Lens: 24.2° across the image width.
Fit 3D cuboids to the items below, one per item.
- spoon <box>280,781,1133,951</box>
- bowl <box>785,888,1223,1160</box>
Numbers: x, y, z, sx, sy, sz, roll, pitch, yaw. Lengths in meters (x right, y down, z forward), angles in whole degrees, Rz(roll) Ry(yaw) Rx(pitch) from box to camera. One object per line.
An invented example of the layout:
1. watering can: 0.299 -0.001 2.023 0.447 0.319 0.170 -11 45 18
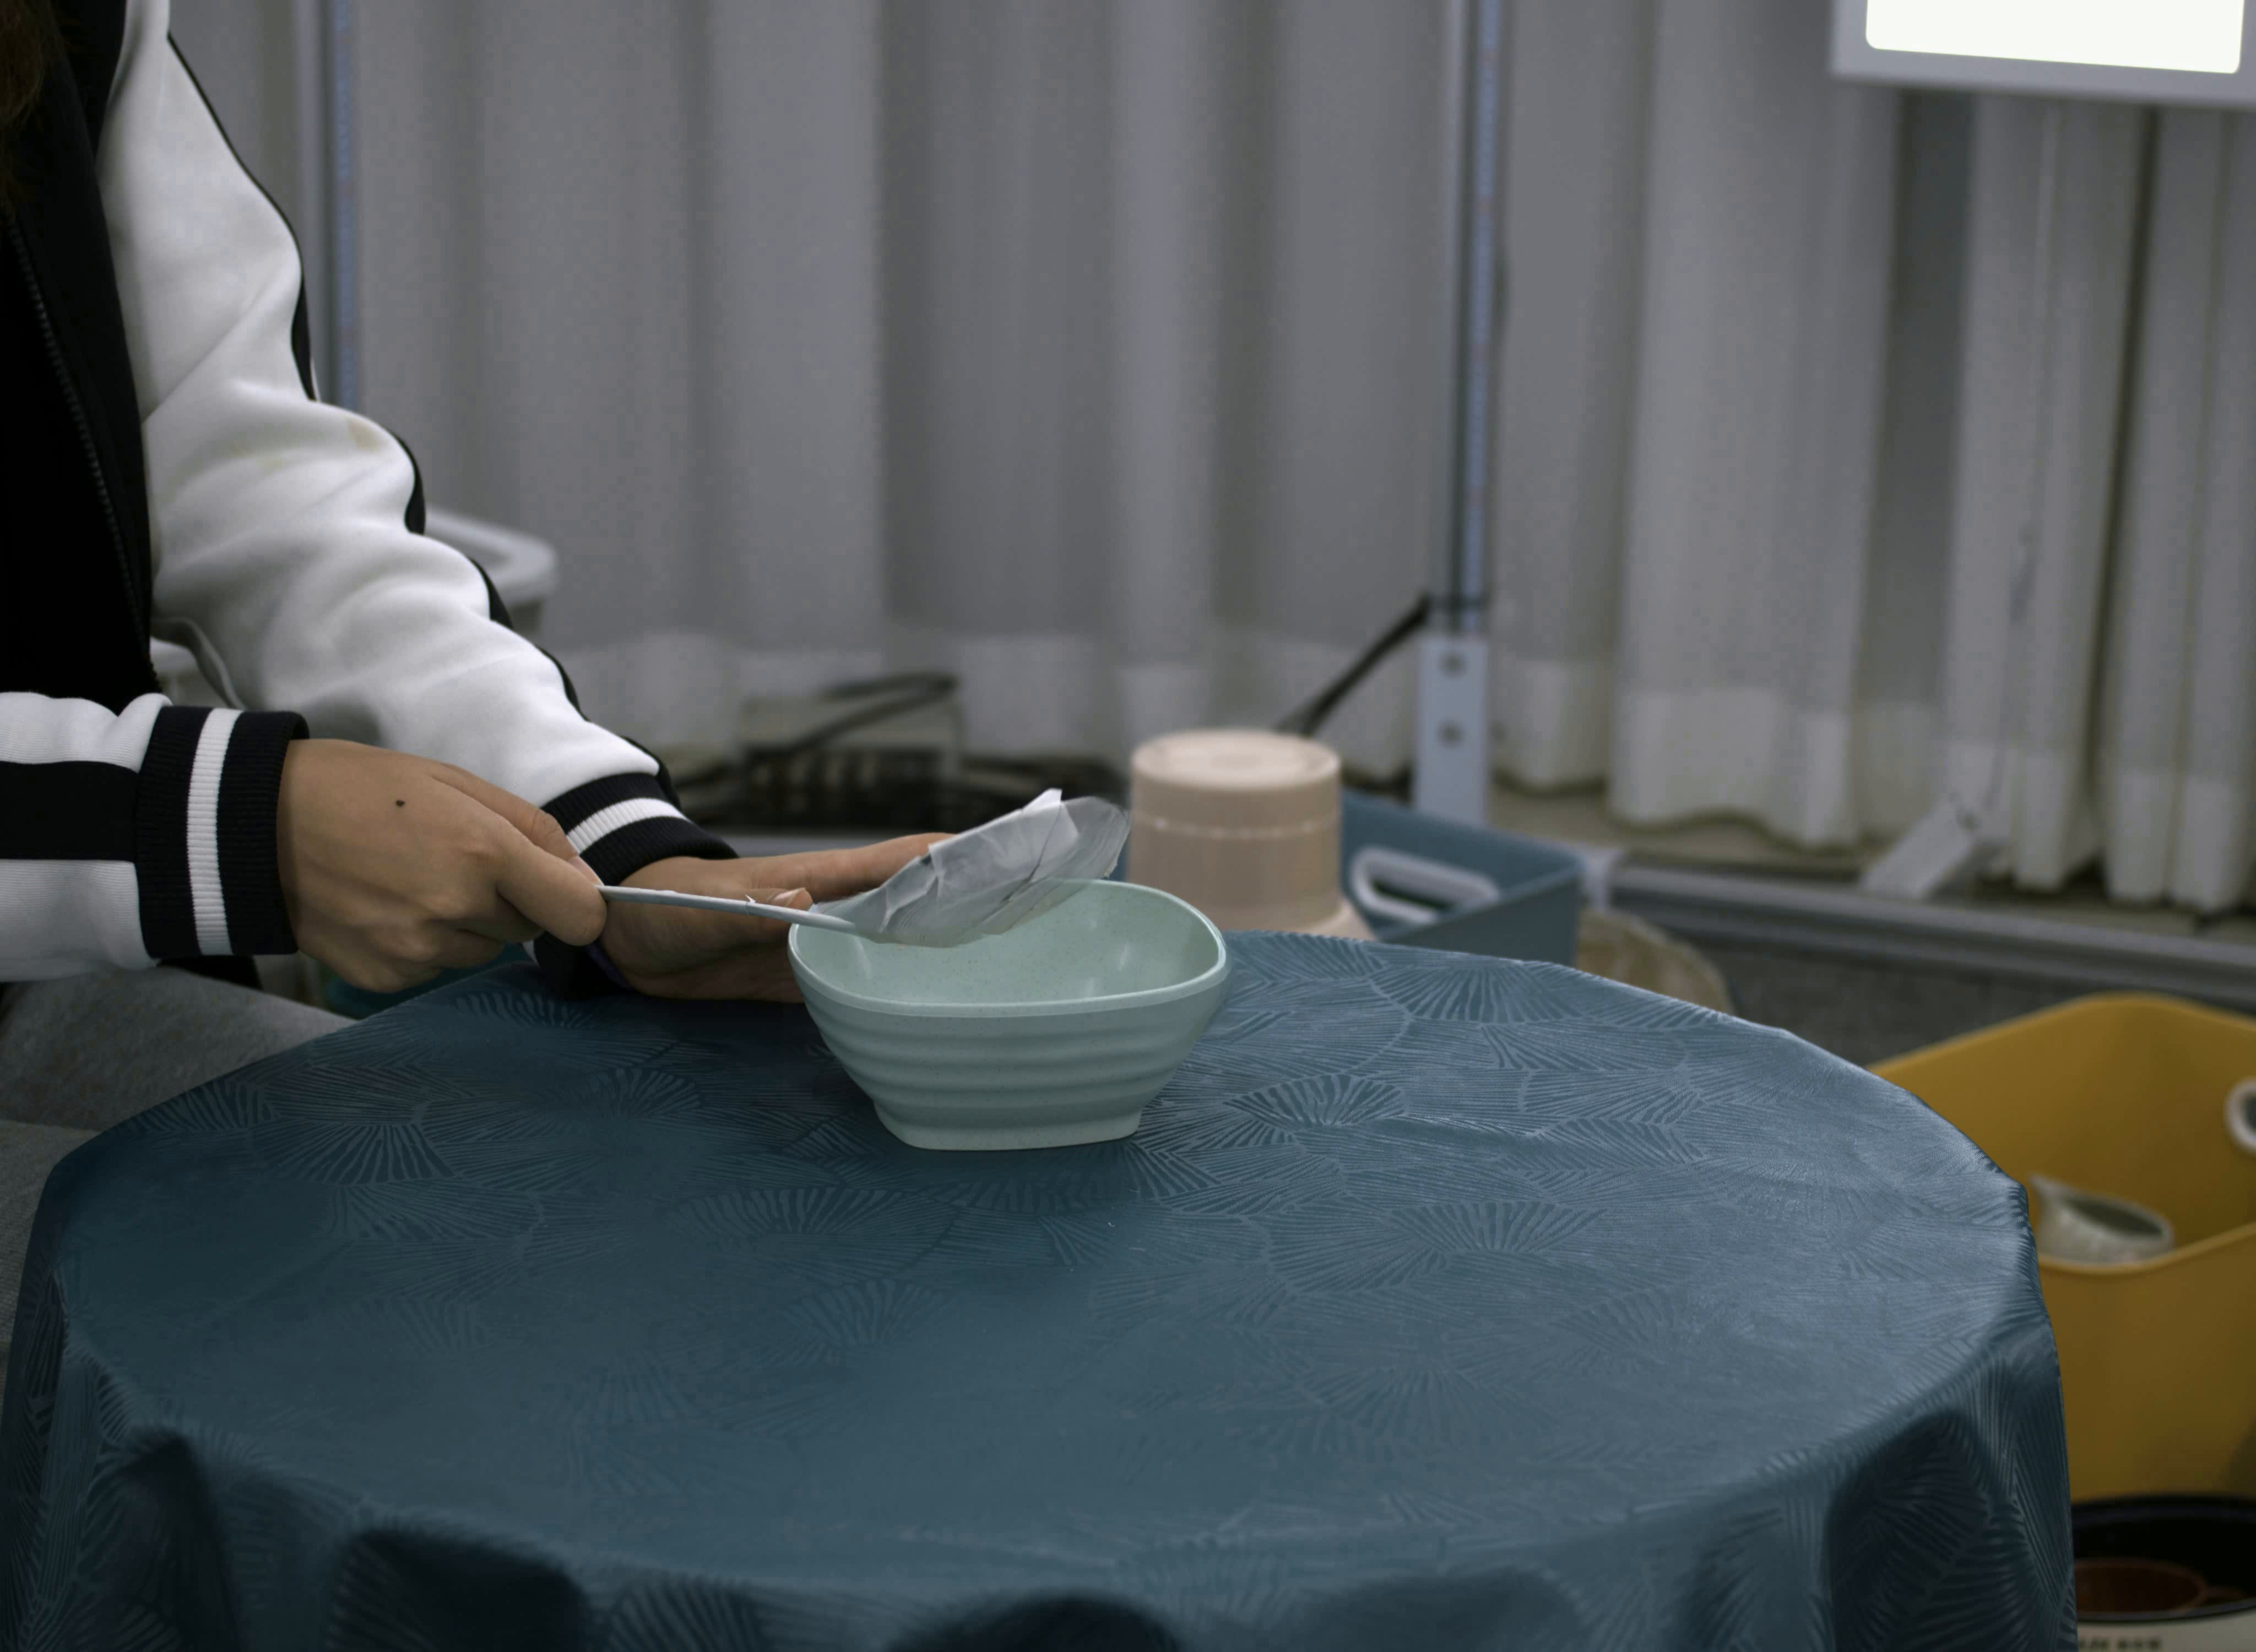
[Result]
1. spoon: -0.135 0.001 1.671 0.275 0.059 0.101 7 -15 15
2. bowl: -0.040 0.066 1.690 0.151 0.059 0.150 0 15 0
